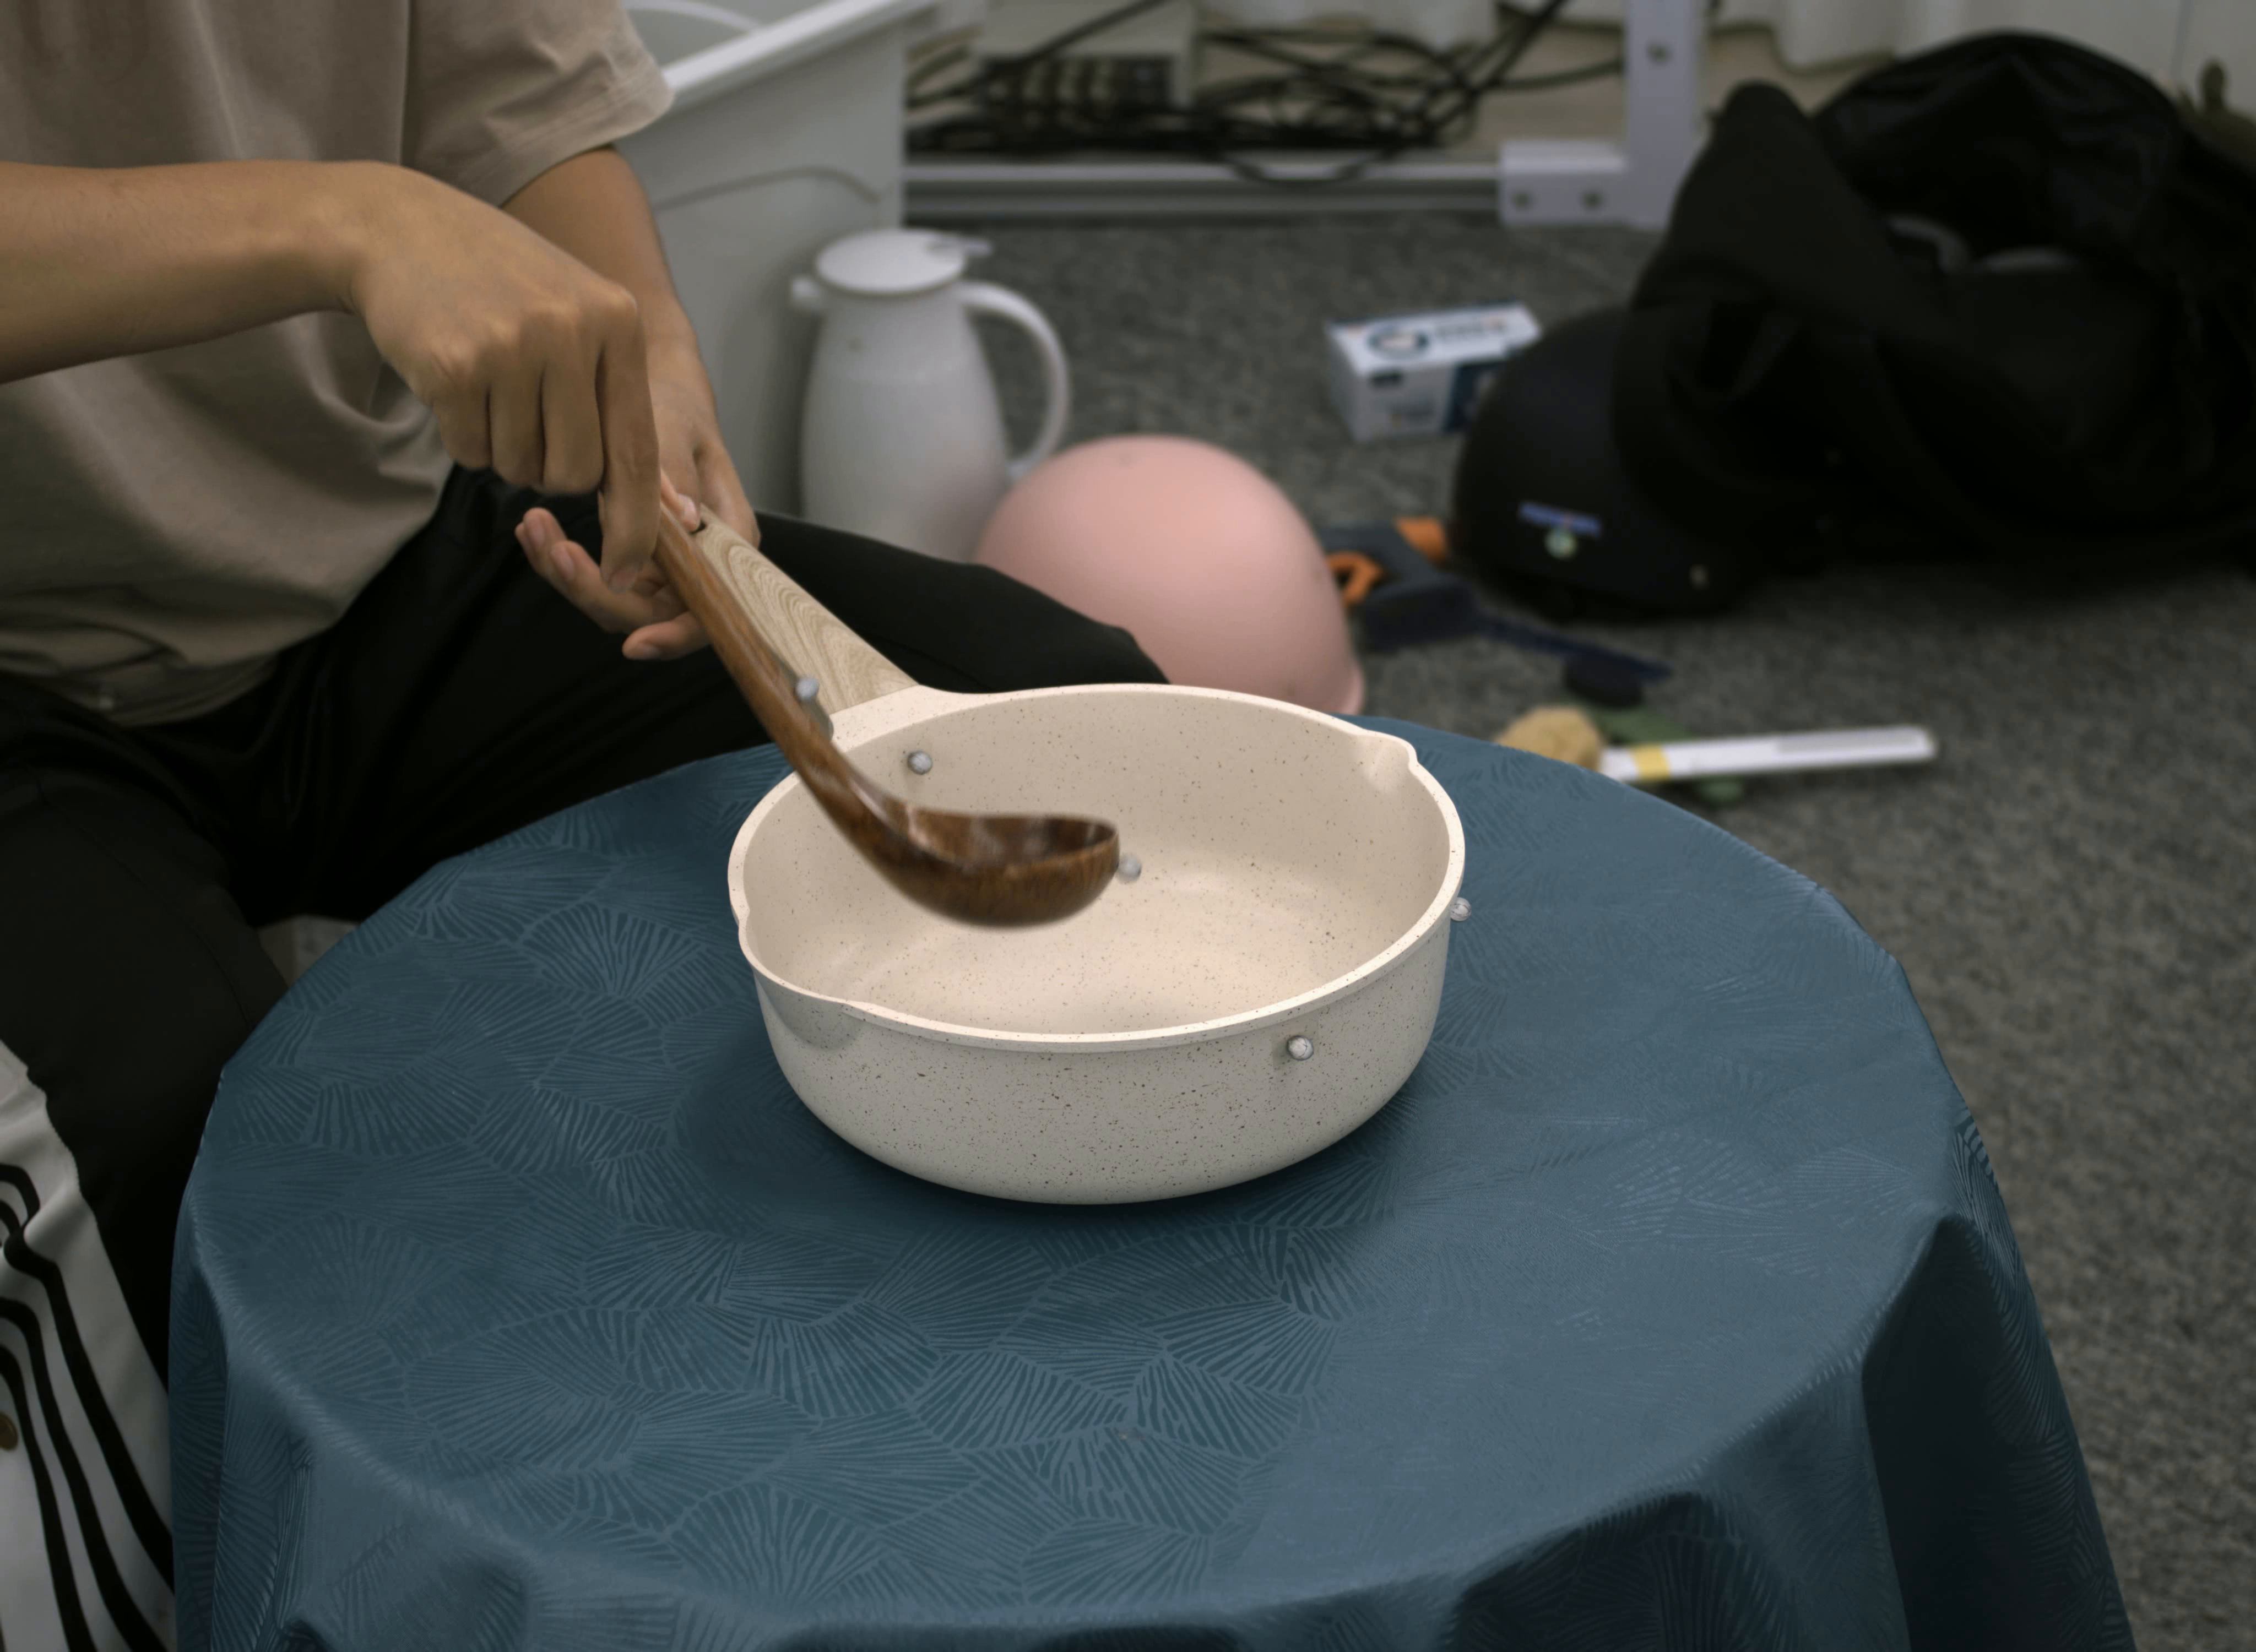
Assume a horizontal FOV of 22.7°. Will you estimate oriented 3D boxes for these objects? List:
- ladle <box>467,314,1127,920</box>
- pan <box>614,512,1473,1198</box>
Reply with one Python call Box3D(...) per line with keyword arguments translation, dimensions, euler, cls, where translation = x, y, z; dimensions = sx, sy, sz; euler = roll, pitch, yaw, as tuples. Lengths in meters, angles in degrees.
Box3D(translation=(-0.105, -0.076, 1.855), dimensions=(0.076, 0.274, 0.082), euler=(-37, 5, 2), cls="ladle")
Box3D(translation=(-0.057, 0.002, 1.991), dimensions=(0.265, 0.101, 0.436), euler=(-21, 32, -28), cls="pan")
